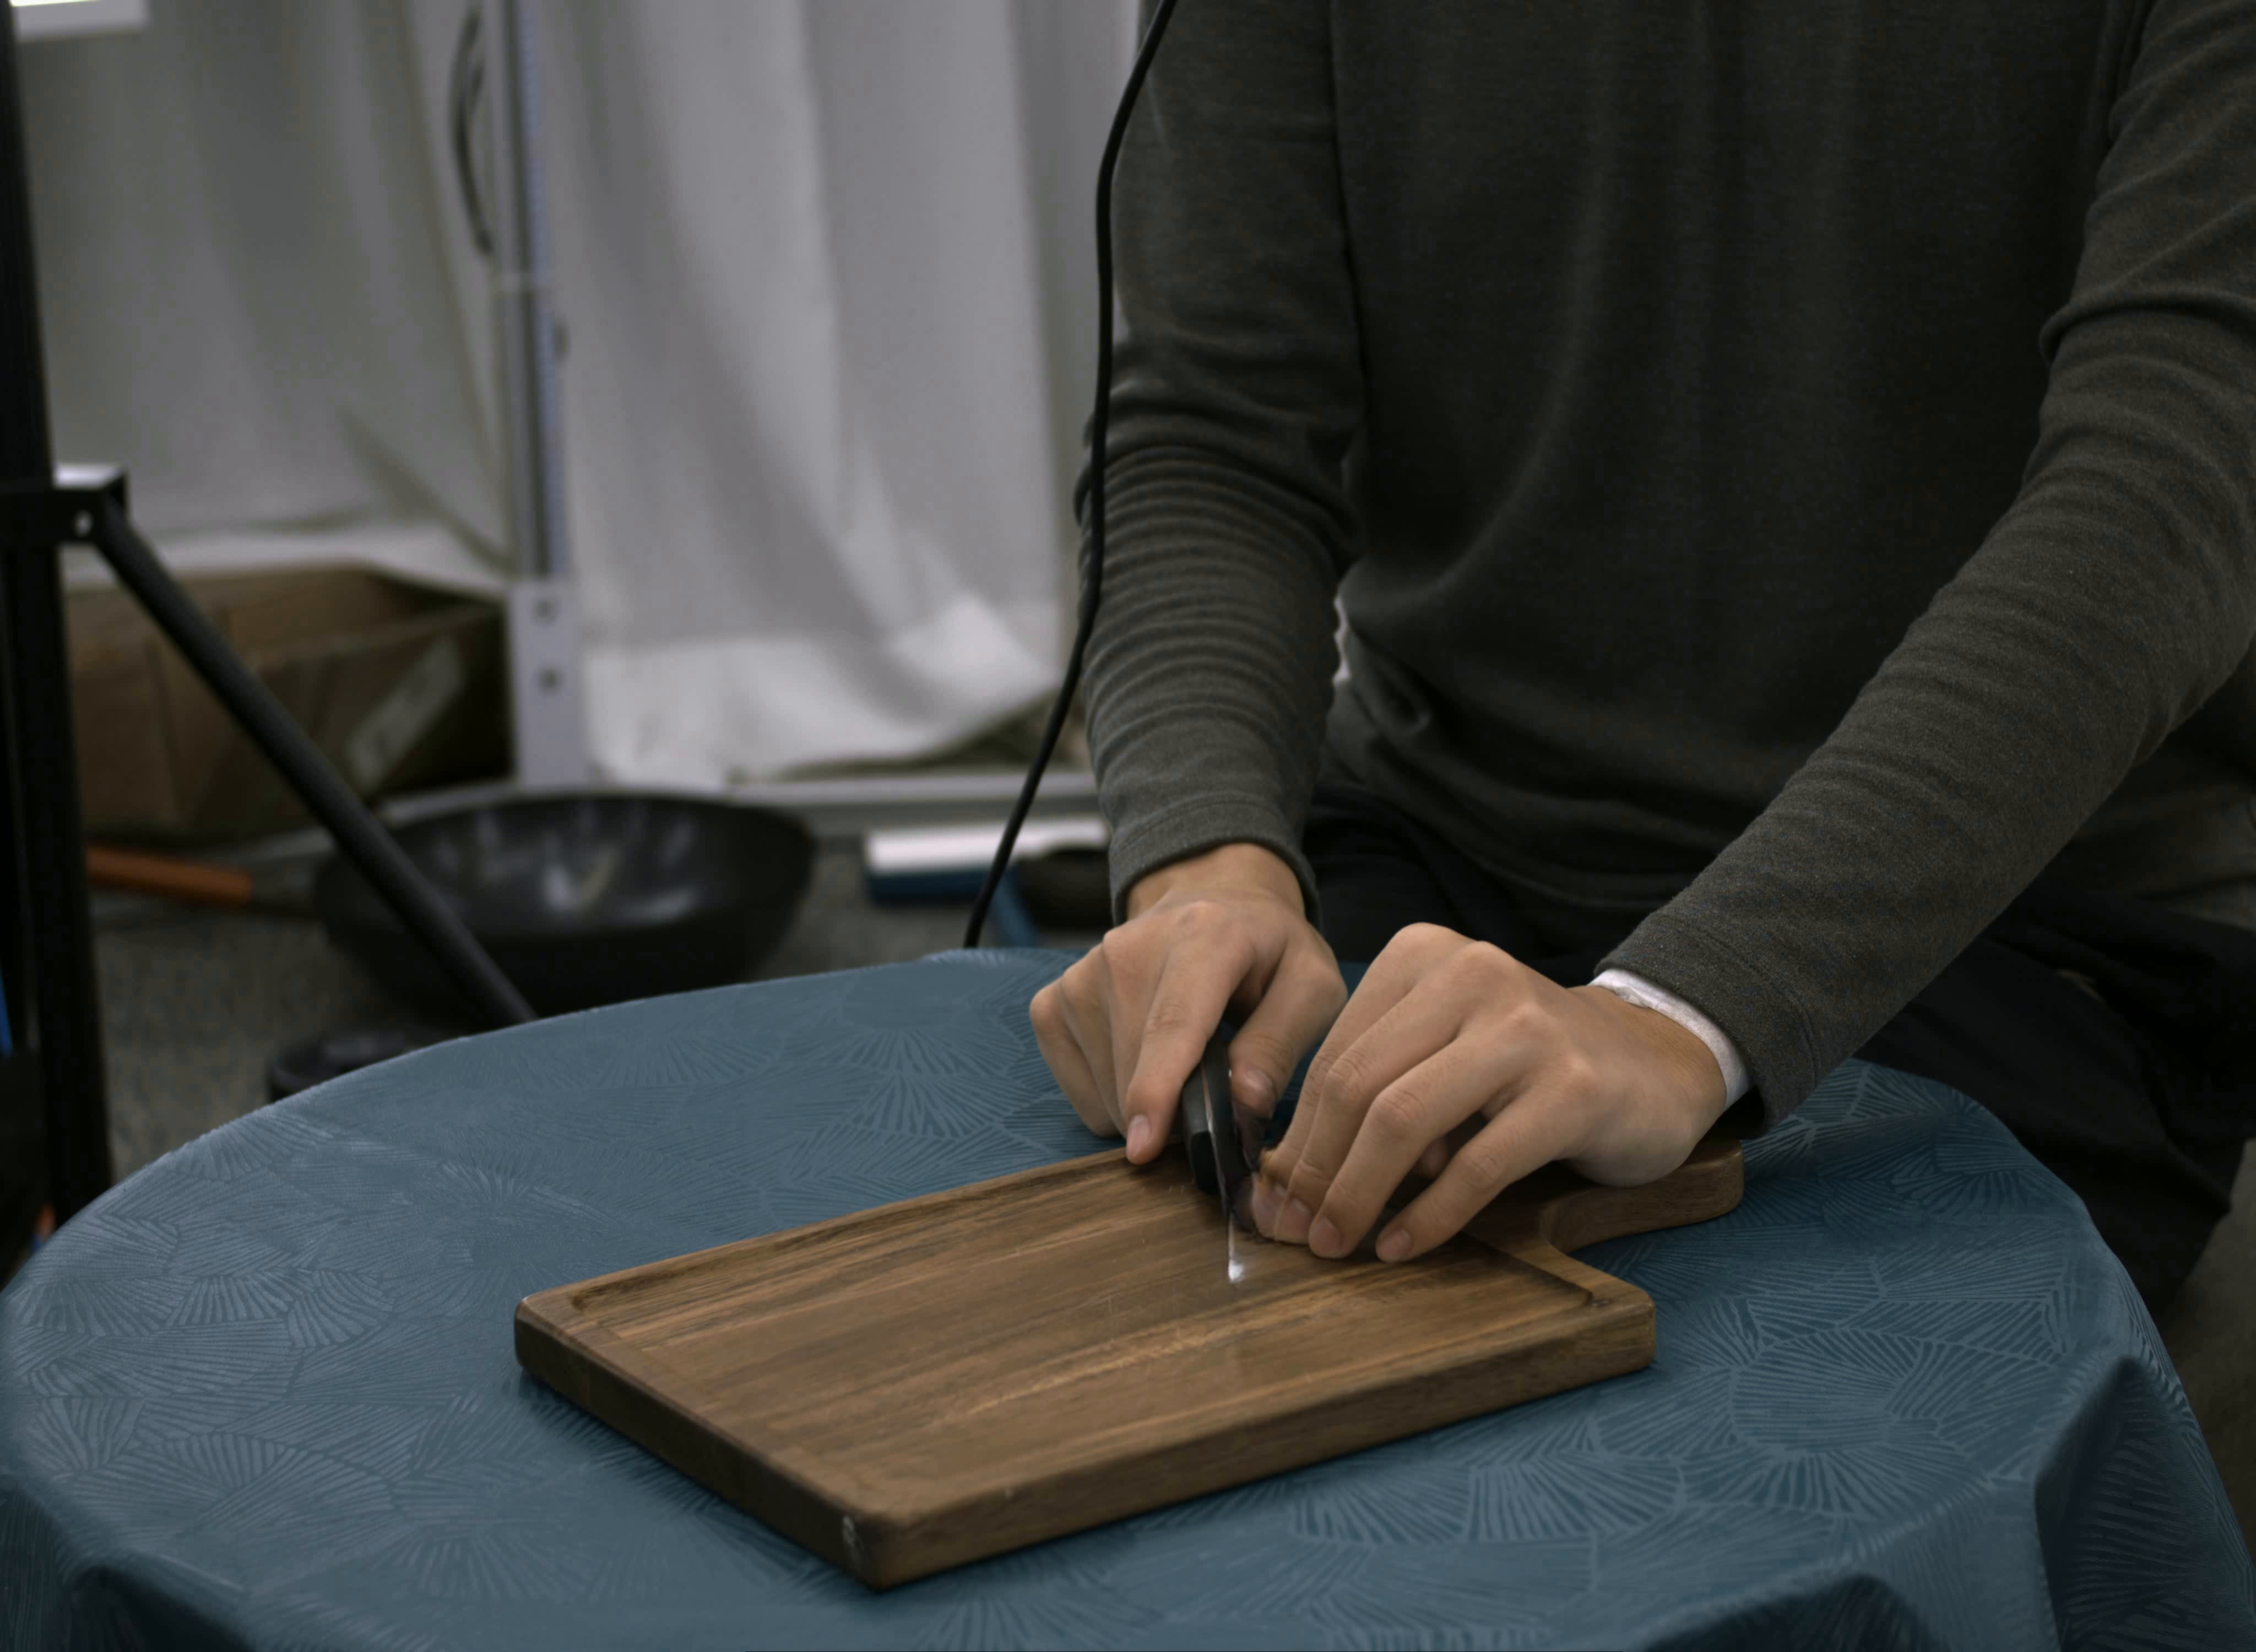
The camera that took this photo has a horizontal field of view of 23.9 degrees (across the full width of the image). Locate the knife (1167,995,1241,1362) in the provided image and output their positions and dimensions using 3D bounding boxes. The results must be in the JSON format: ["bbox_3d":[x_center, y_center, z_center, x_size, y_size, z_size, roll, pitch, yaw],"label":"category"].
[{"bbox_3d":[0.024,0.096,1.488,0.016,0.024,0.240,1,19,-3],"label":"knife"}]

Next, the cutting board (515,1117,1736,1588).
[{"bbox_3d":[0.030,0.128,1.451,0.344,0.023,0.205,-12,19,-31],"label":"cutting board"}]
